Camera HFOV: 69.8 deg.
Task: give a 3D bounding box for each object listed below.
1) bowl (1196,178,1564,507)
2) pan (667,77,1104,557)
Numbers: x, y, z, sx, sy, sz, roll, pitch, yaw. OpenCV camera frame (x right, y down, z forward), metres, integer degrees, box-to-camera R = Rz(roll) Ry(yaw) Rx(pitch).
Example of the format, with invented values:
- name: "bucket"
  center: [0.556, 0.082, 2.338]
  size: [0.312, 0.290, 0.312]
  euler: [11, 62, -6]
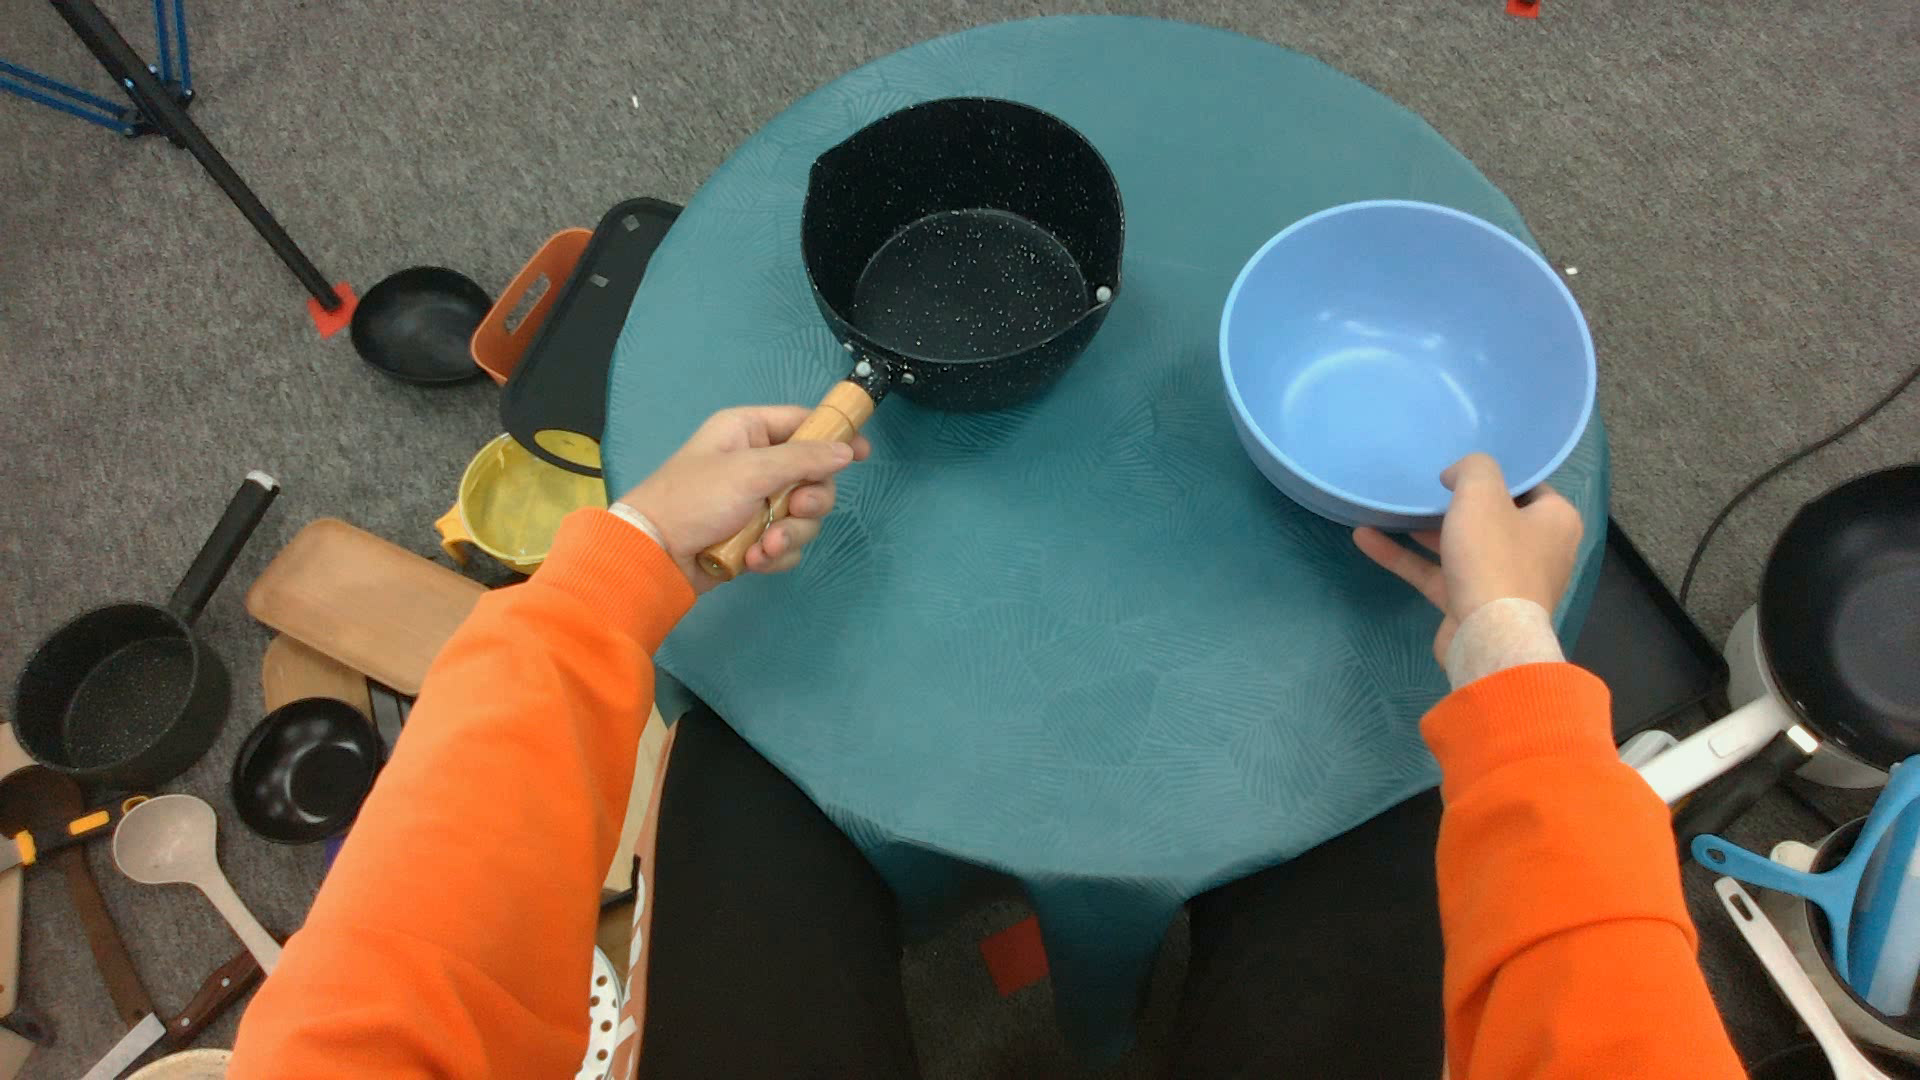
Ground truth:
- name: "bowl"
  center: [0.225, -0.097, 0.780]
  size: [0.196, 0.095, 0.197]
  euler: [0, 65, 0]
- name: "pan"
  center: [-0.048, -0.113, 0.776]
  size: [0.207, 0.108, 0.344]
  euler: [26, 68, 12]
